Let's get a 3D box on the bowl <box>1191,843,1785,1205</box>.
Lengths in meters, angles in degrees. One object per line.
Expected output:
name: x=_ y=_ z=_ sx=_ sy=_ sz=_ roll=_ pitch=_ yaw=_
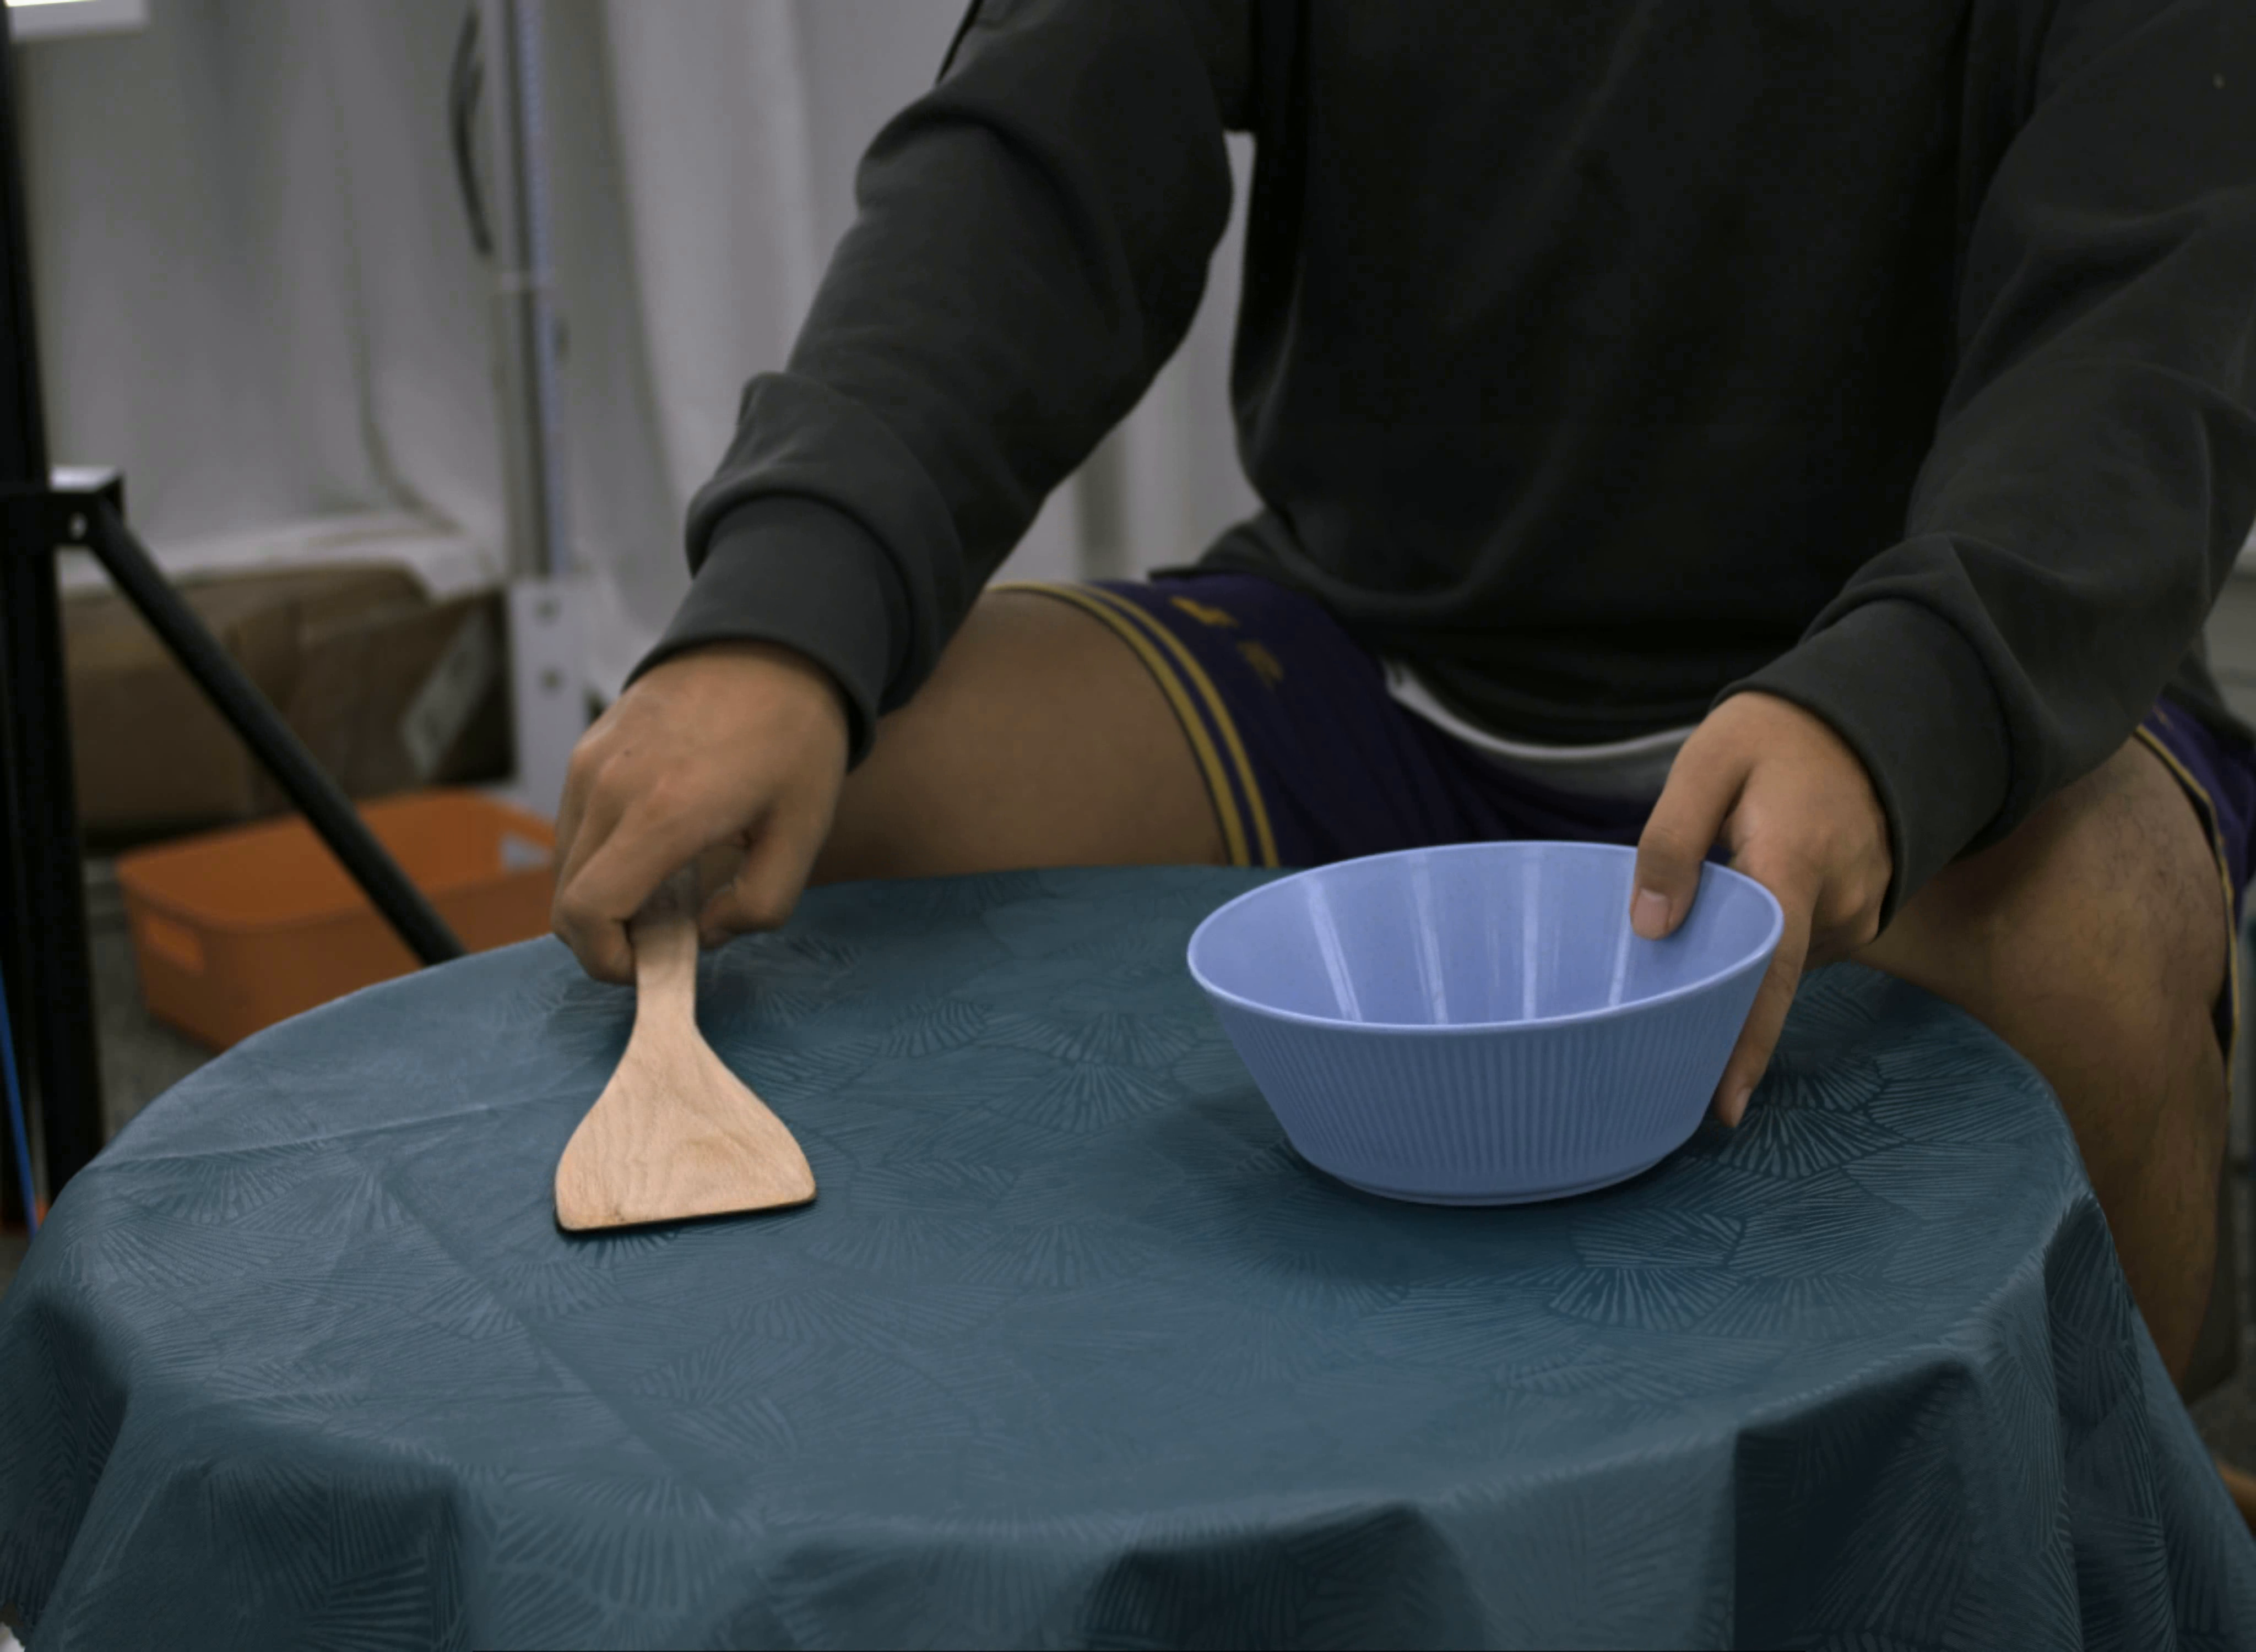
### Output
bowl: x=0.108 y=0.061 z=1.571 sx=0.175 sy=0.070 sz=0.177 roll=-5 pitch=16 yaw=0

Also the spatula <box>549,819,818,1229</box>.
spatula: x=-0.143 y=0.058 z=1.696 sx=0.079 sy=0.016 sz=0.331 roll=-4 pitch=23 yaw=-4
